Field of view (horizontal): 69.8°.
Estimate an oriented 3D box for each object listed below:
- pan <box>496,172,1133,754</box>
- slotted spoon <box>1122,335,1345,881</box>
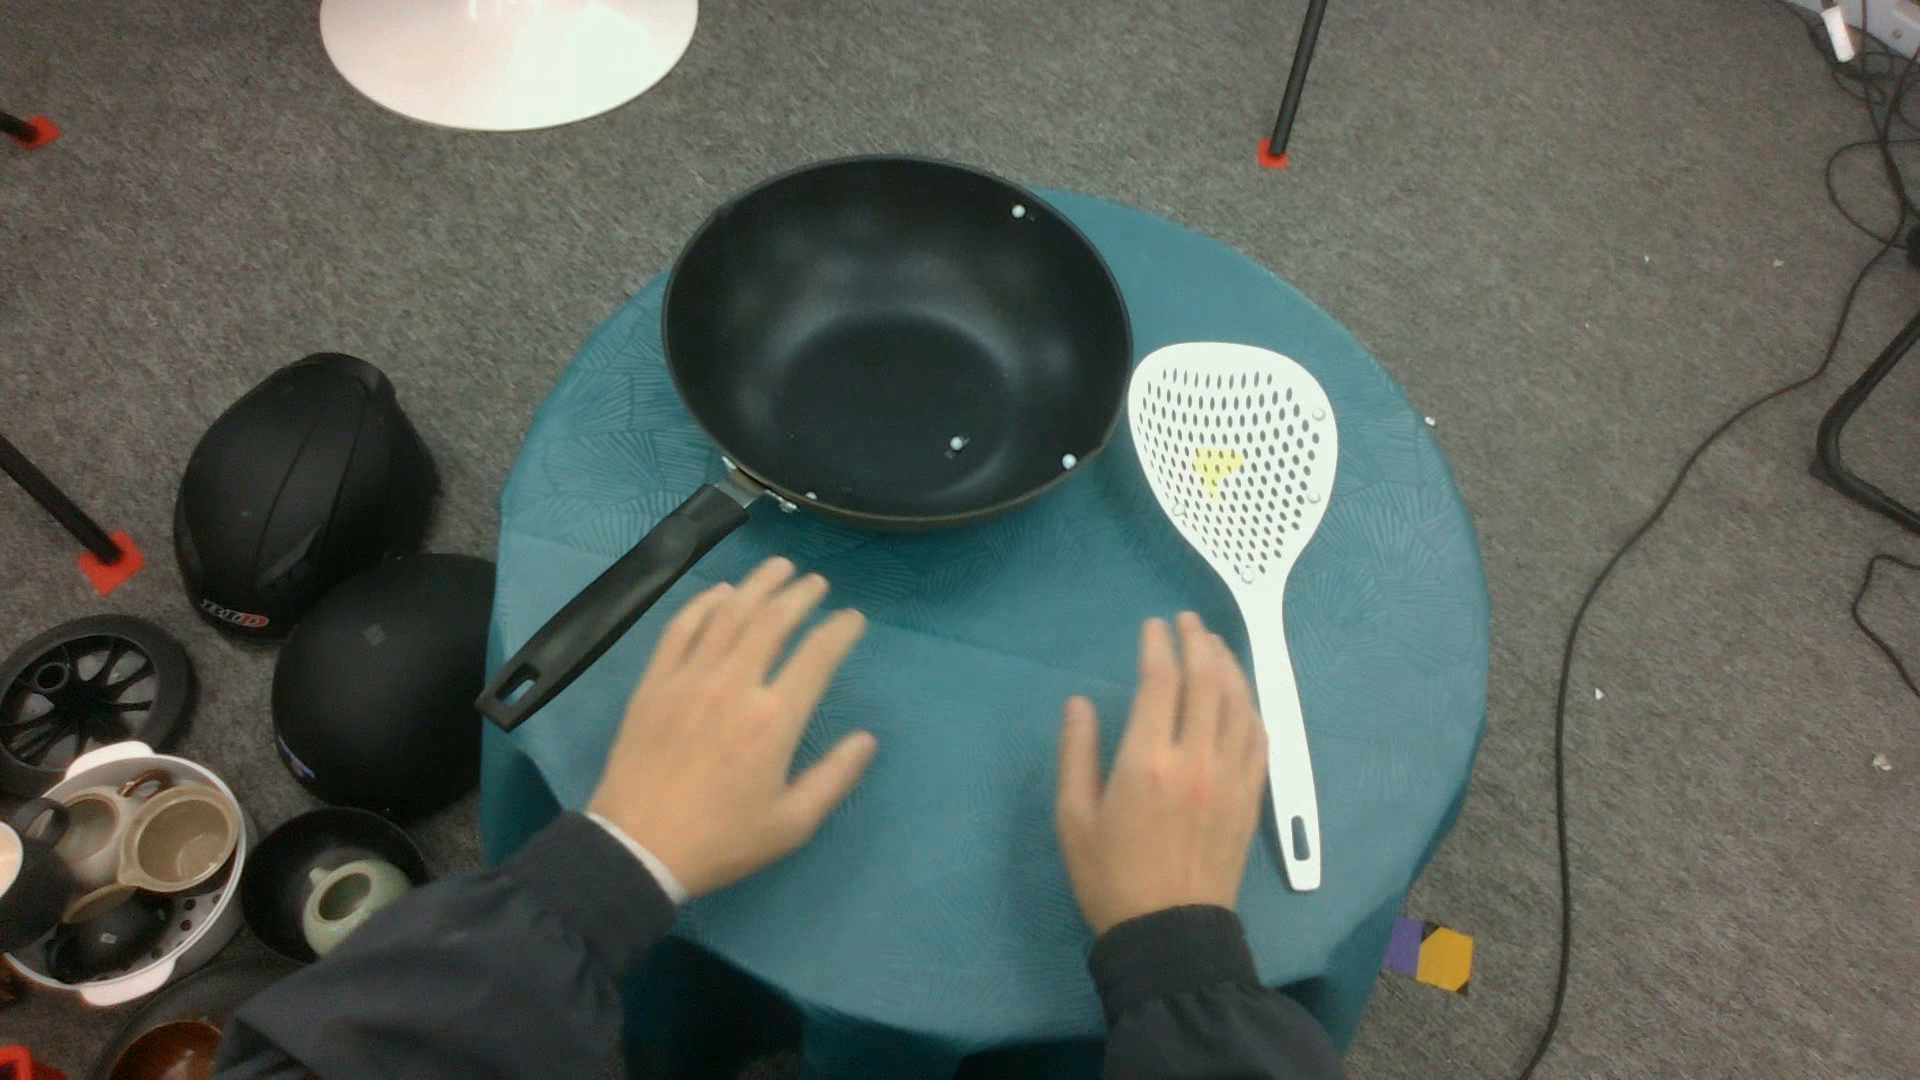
[{"bbox_3d":[-0.088,-0.038,0.820,0.288,0.086,0.465,31,62,15],"label":"pan"},{"bbox_3d":[0.179,0.026,0.820,0.137,0.050,0.349,-2,58,-8],"label":"slotted spoon"}]
